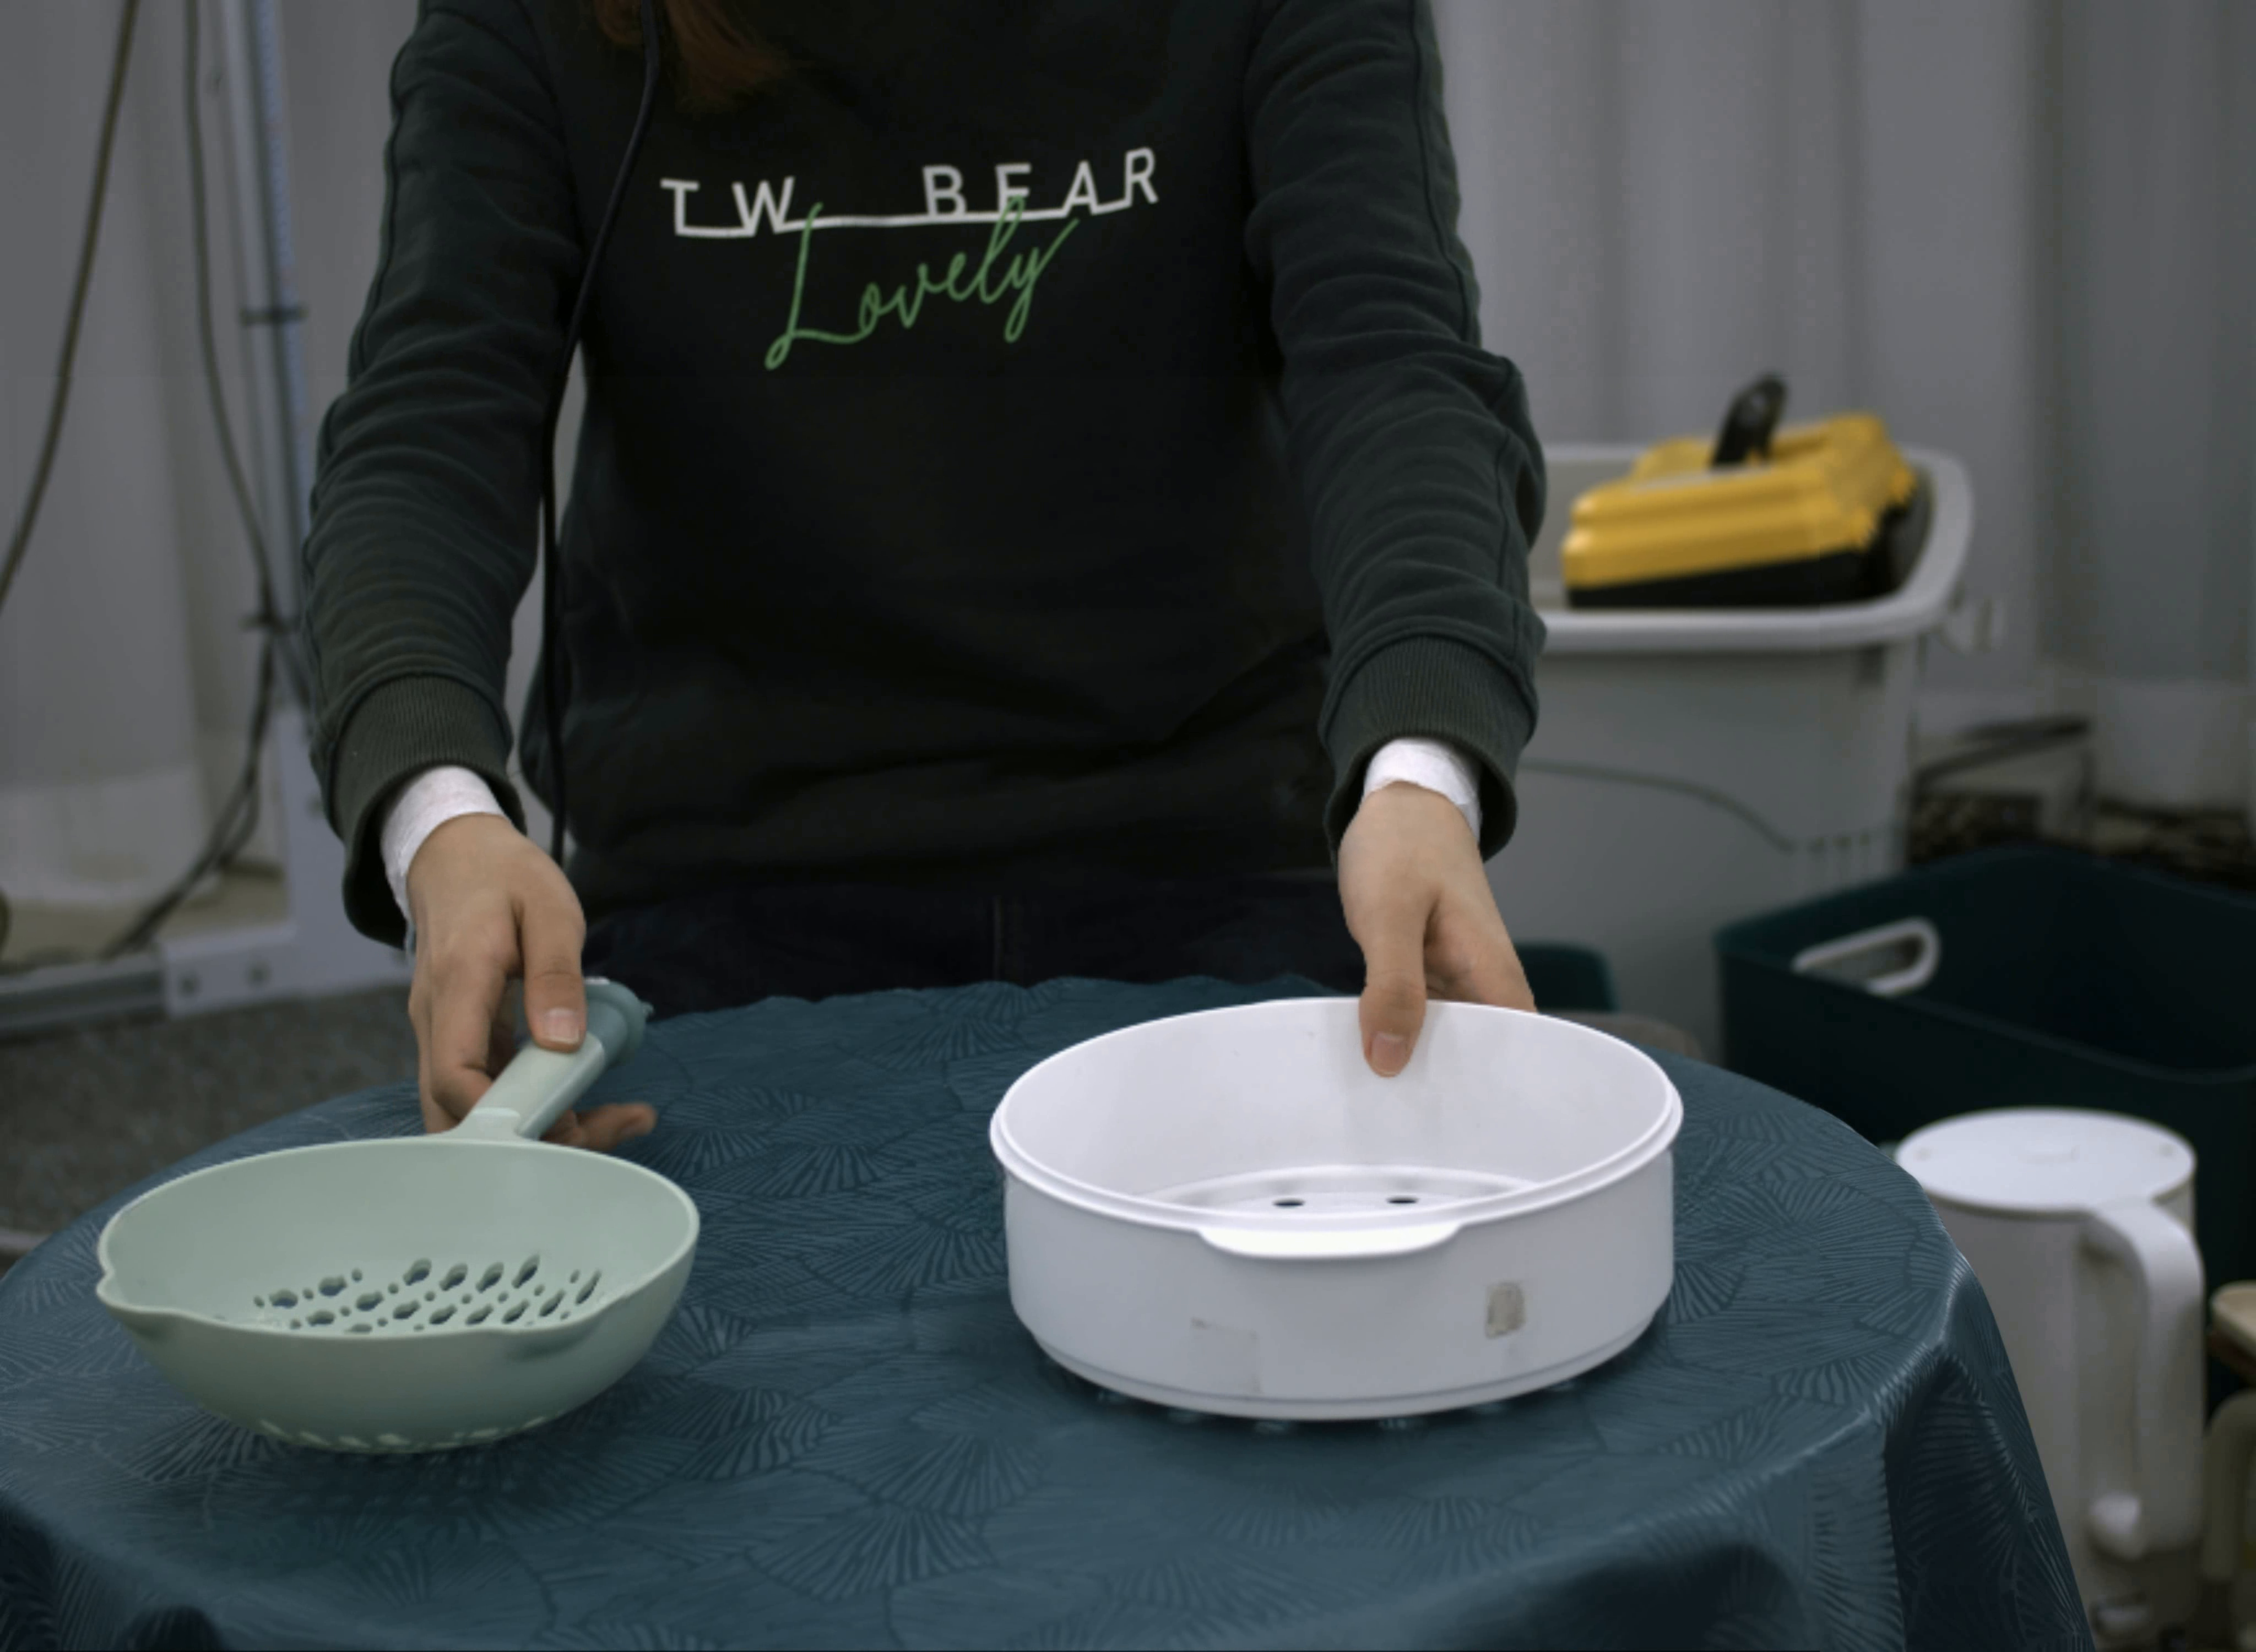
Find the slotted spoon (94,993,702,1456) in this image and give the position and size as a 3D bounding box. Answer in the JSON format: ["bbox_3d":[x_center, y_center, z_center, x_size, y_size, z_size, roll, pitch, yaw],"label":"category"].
[{"bbox_3d":[-0.190,0.103,1.634,0.169,0.075,0.362,2,22,8],"label":"slotted spoon"}]

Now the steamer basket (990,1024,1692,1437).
[{"bbox_3d":[0.061,0.116,1.578,0.201,0.069,0.232,0,14,2],"label":"steamer basket"}]
